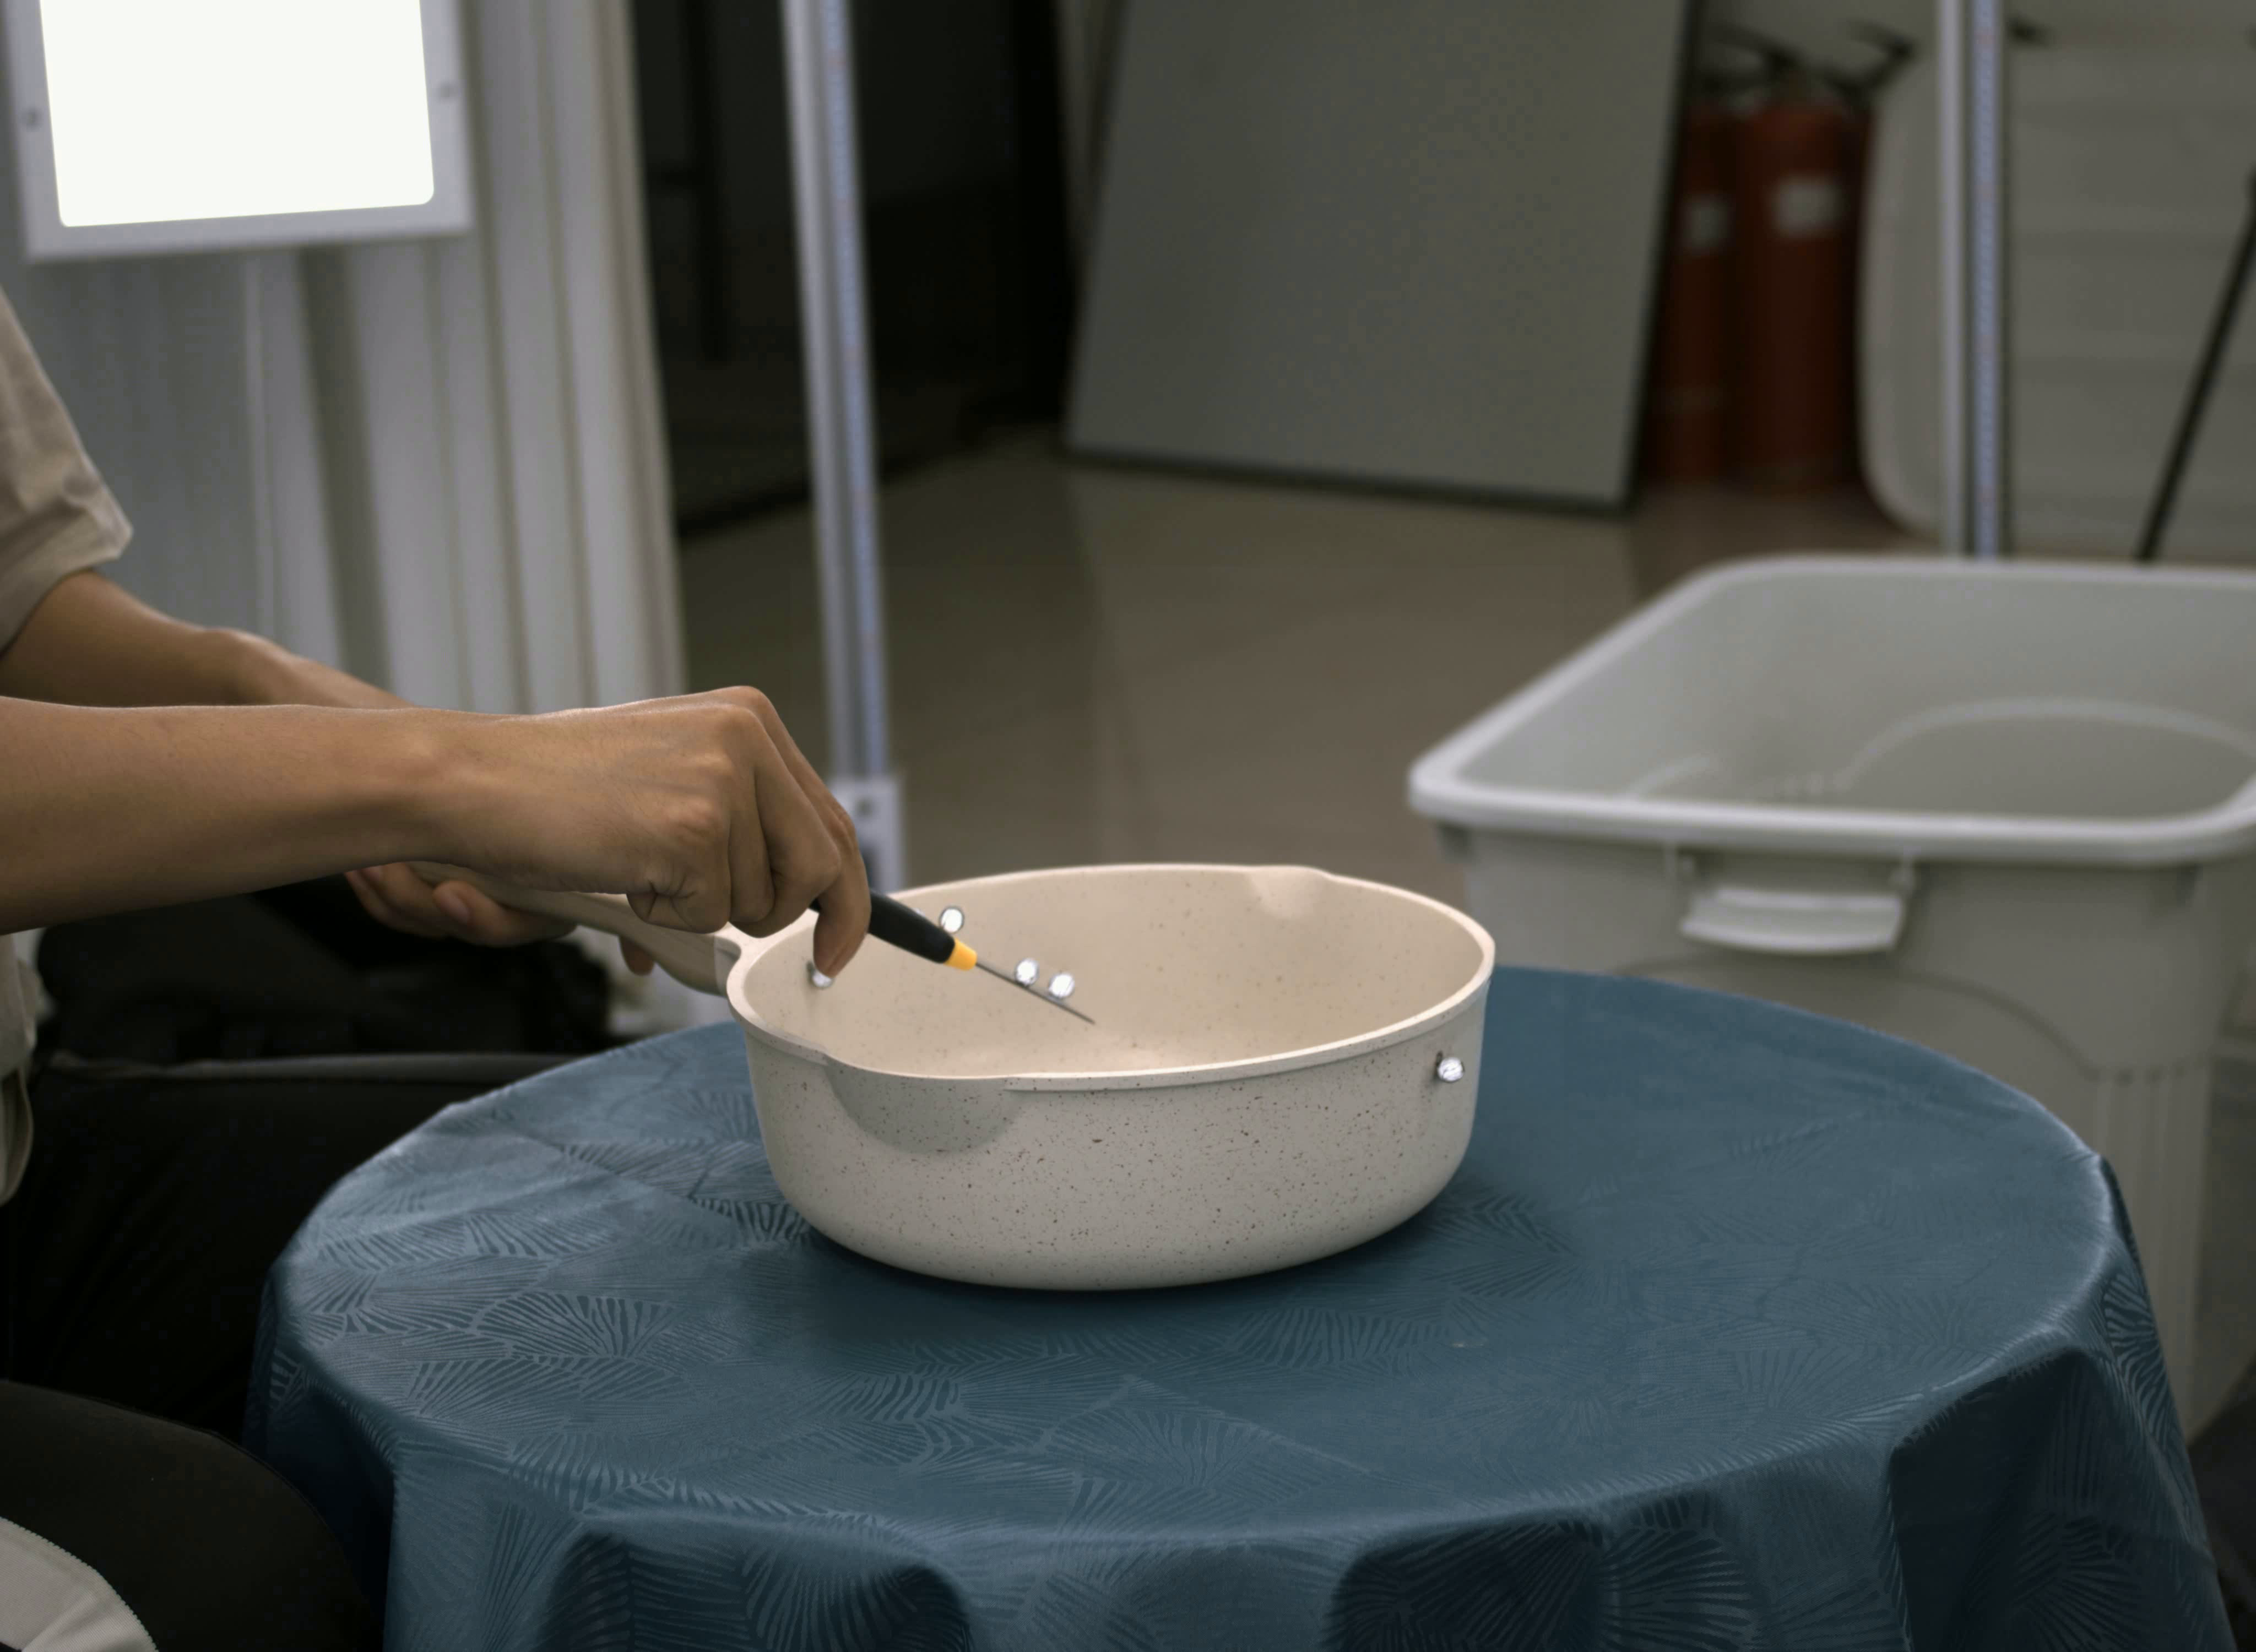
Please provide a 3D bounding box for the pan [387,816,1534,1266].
[{"bbox_3d":[-0.067,0.060,1.818,0.437,0.103,0.259,4,18,31],"label":"pan"}]

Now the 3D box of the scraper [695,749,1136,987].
[{"bbox_3d":[-0.066,0.014,1.693,0.167,0.015,0.039,27,9,-32],"label":"scraper"}]
